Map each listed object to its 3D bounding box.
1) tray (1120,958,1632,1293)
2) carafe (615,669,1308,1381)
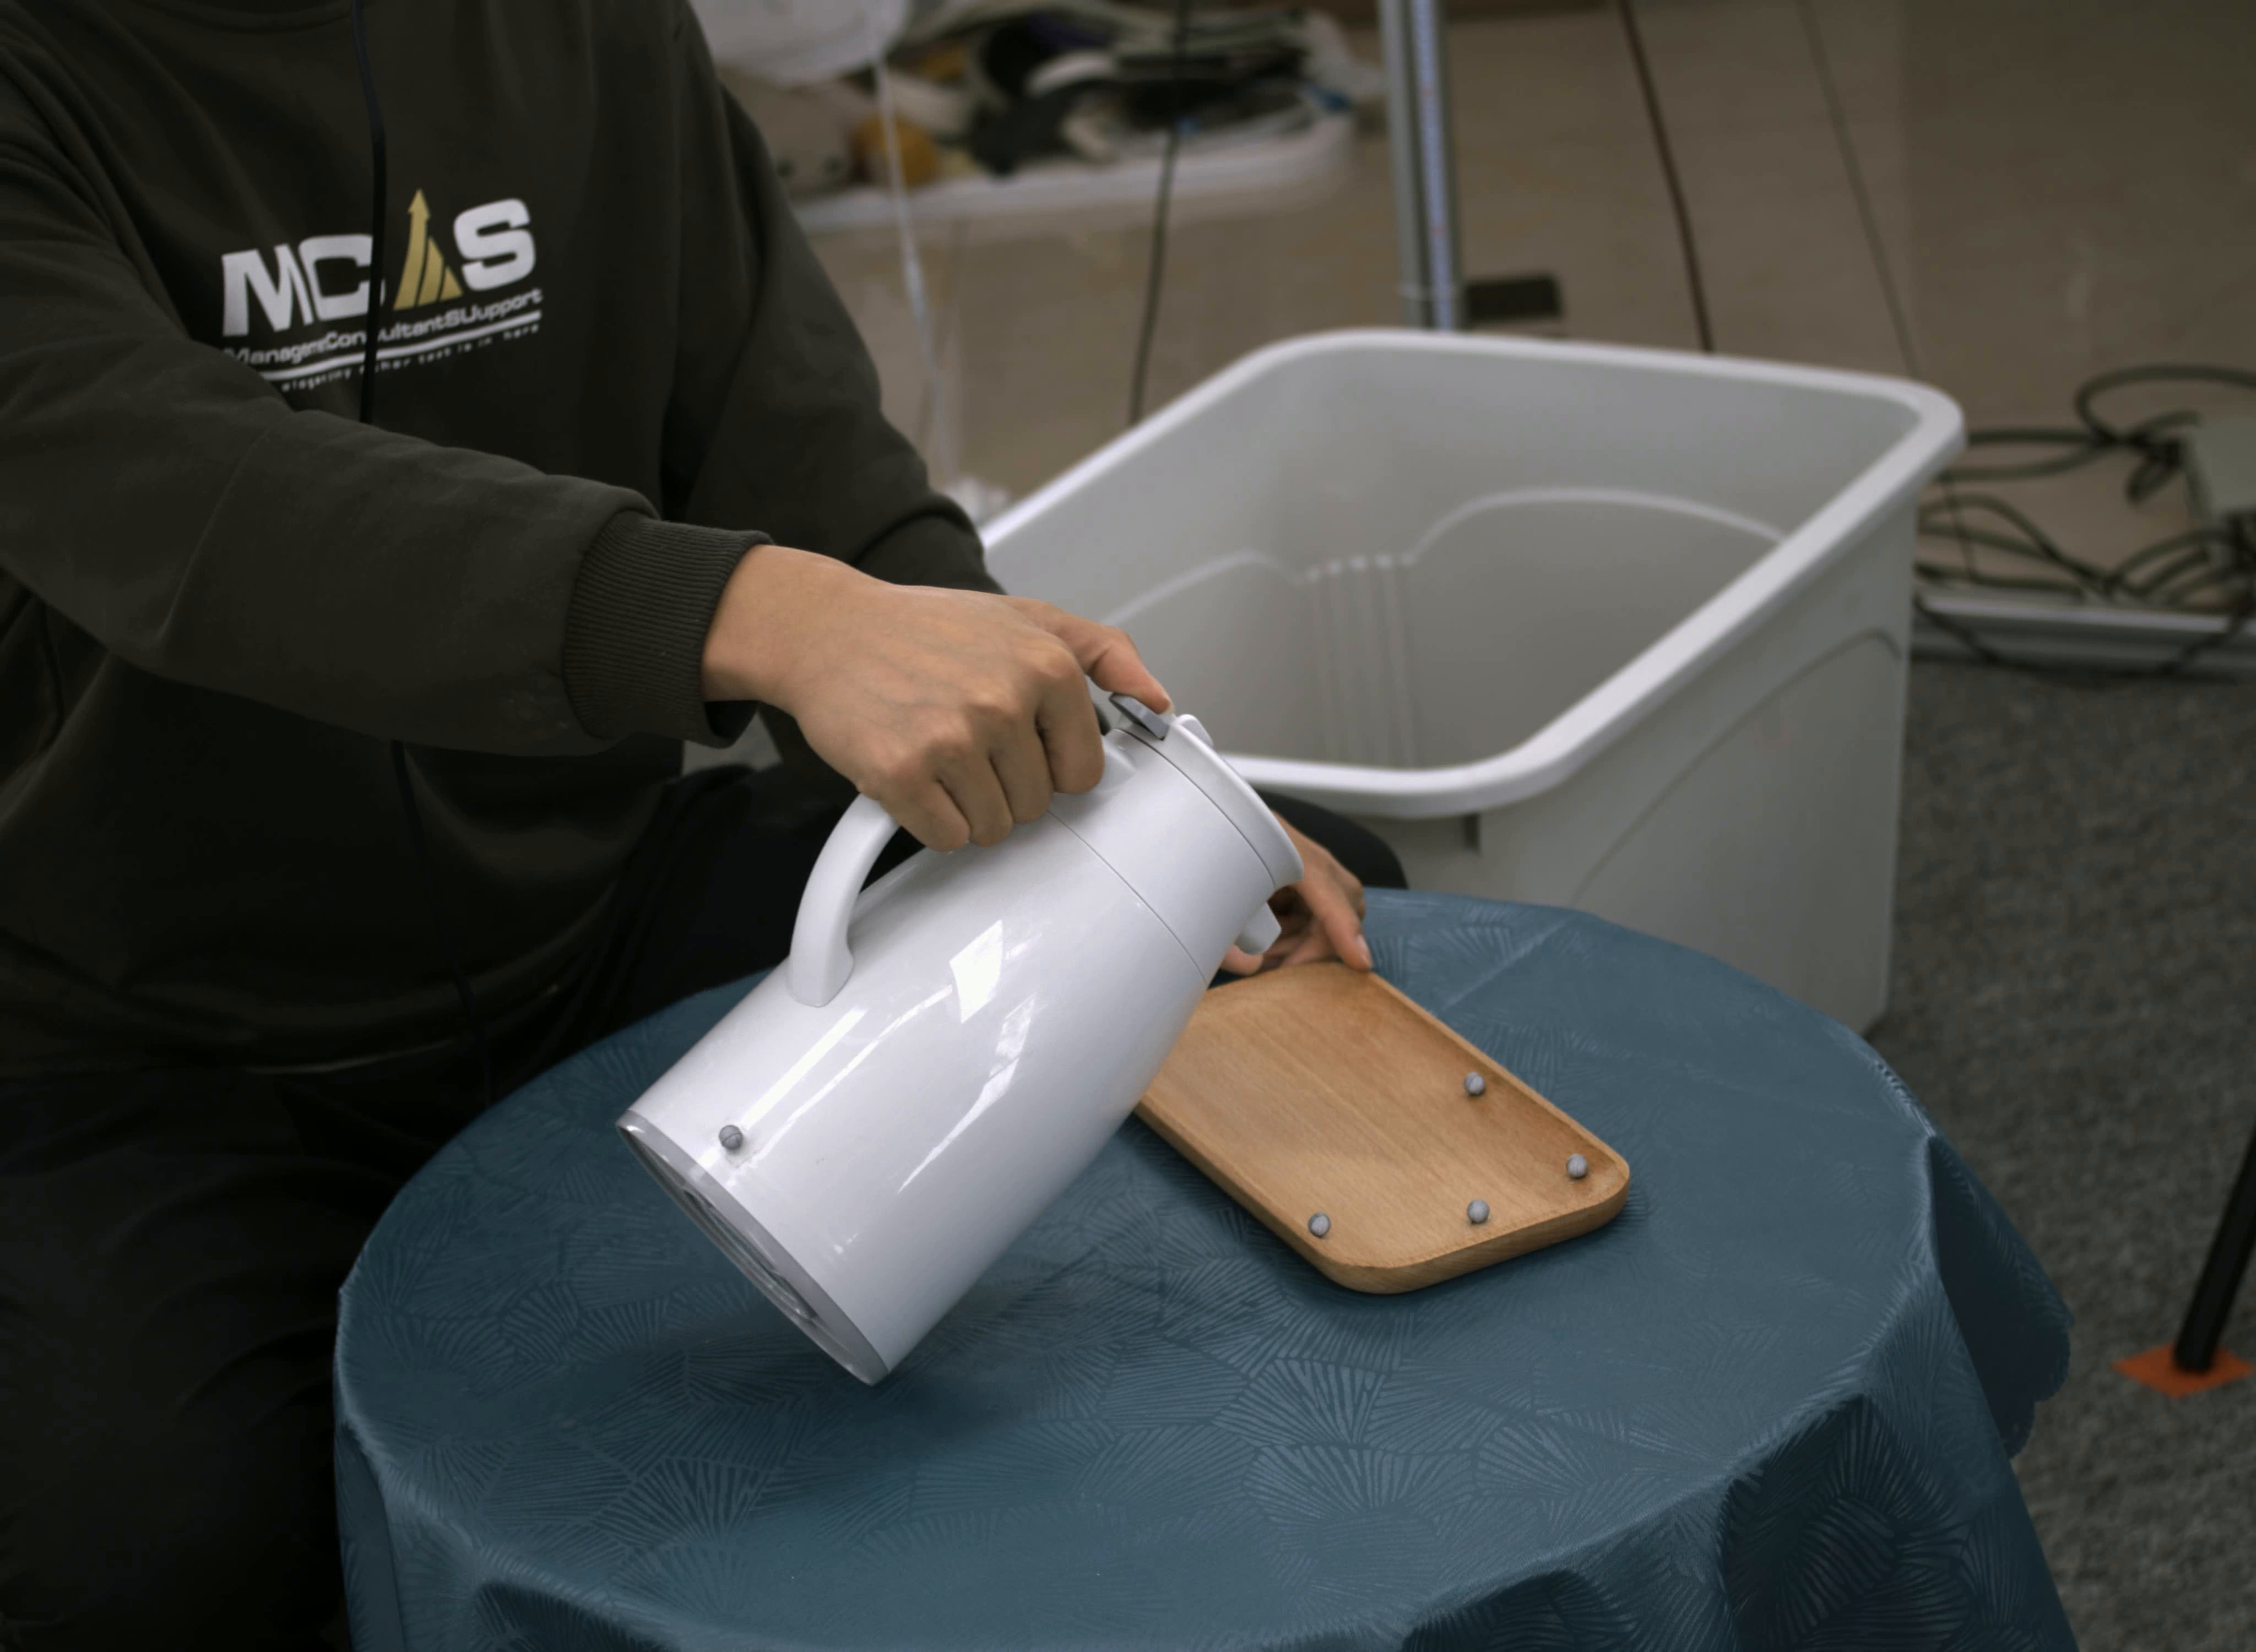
[{"bbox_3d":[0.085,0.112,2.165,0.130,0.023,0.248,-14,24,-21],"label":"tray"},{"bbox_3d":[-0.057,0.055,2.018,0.248,0.170,0.131,-44,40,-8],"label":"carafe"}]
